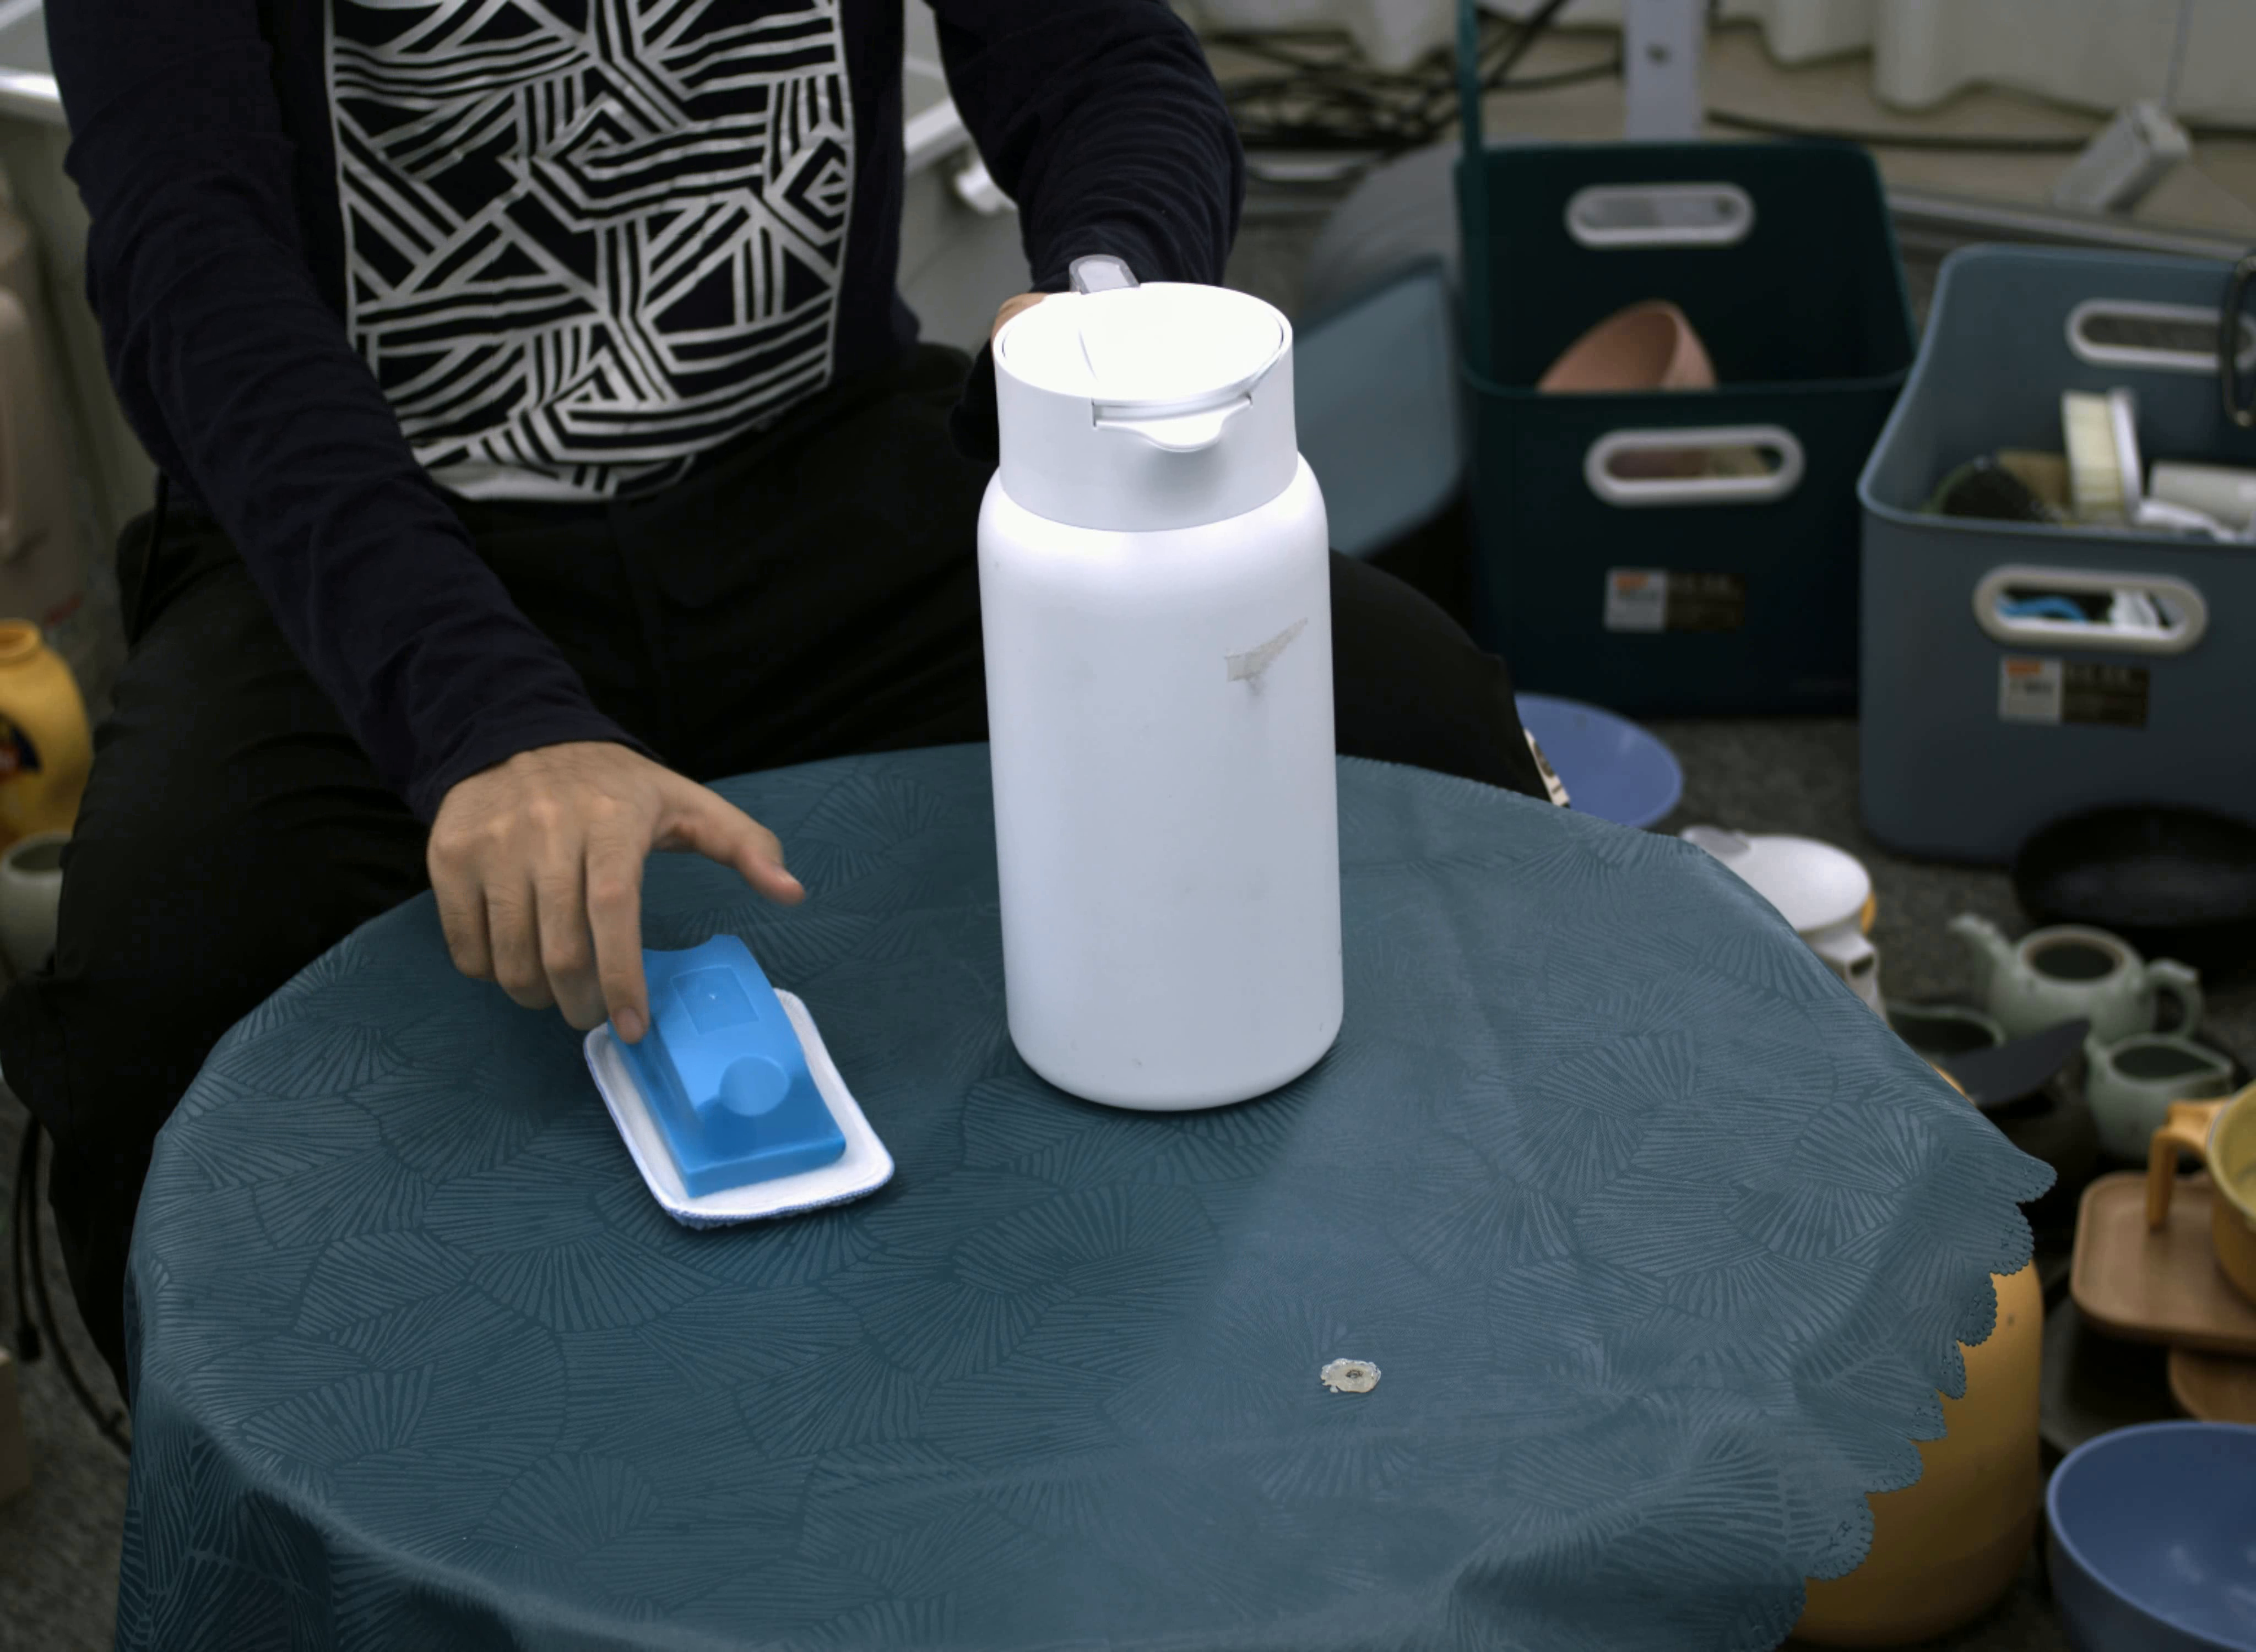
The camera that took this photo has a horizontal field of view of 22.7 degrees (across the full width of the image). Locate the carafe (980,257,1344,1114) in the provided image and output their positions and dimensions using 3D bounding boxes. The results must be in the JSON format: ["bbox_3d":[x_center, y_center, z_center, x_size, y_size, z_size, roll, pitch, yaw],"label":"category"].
[{"bbox_3d":[0.006,-0.051,1.907,0.124,0.266,0.174,-11,27,-11],"label":"carafe"}]

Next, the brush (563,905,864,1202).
[{"bbox_3d":[-0.140,0.072,1.899,0.084,0.055,0.145,-7,32,-15],"label":"brush"}]
